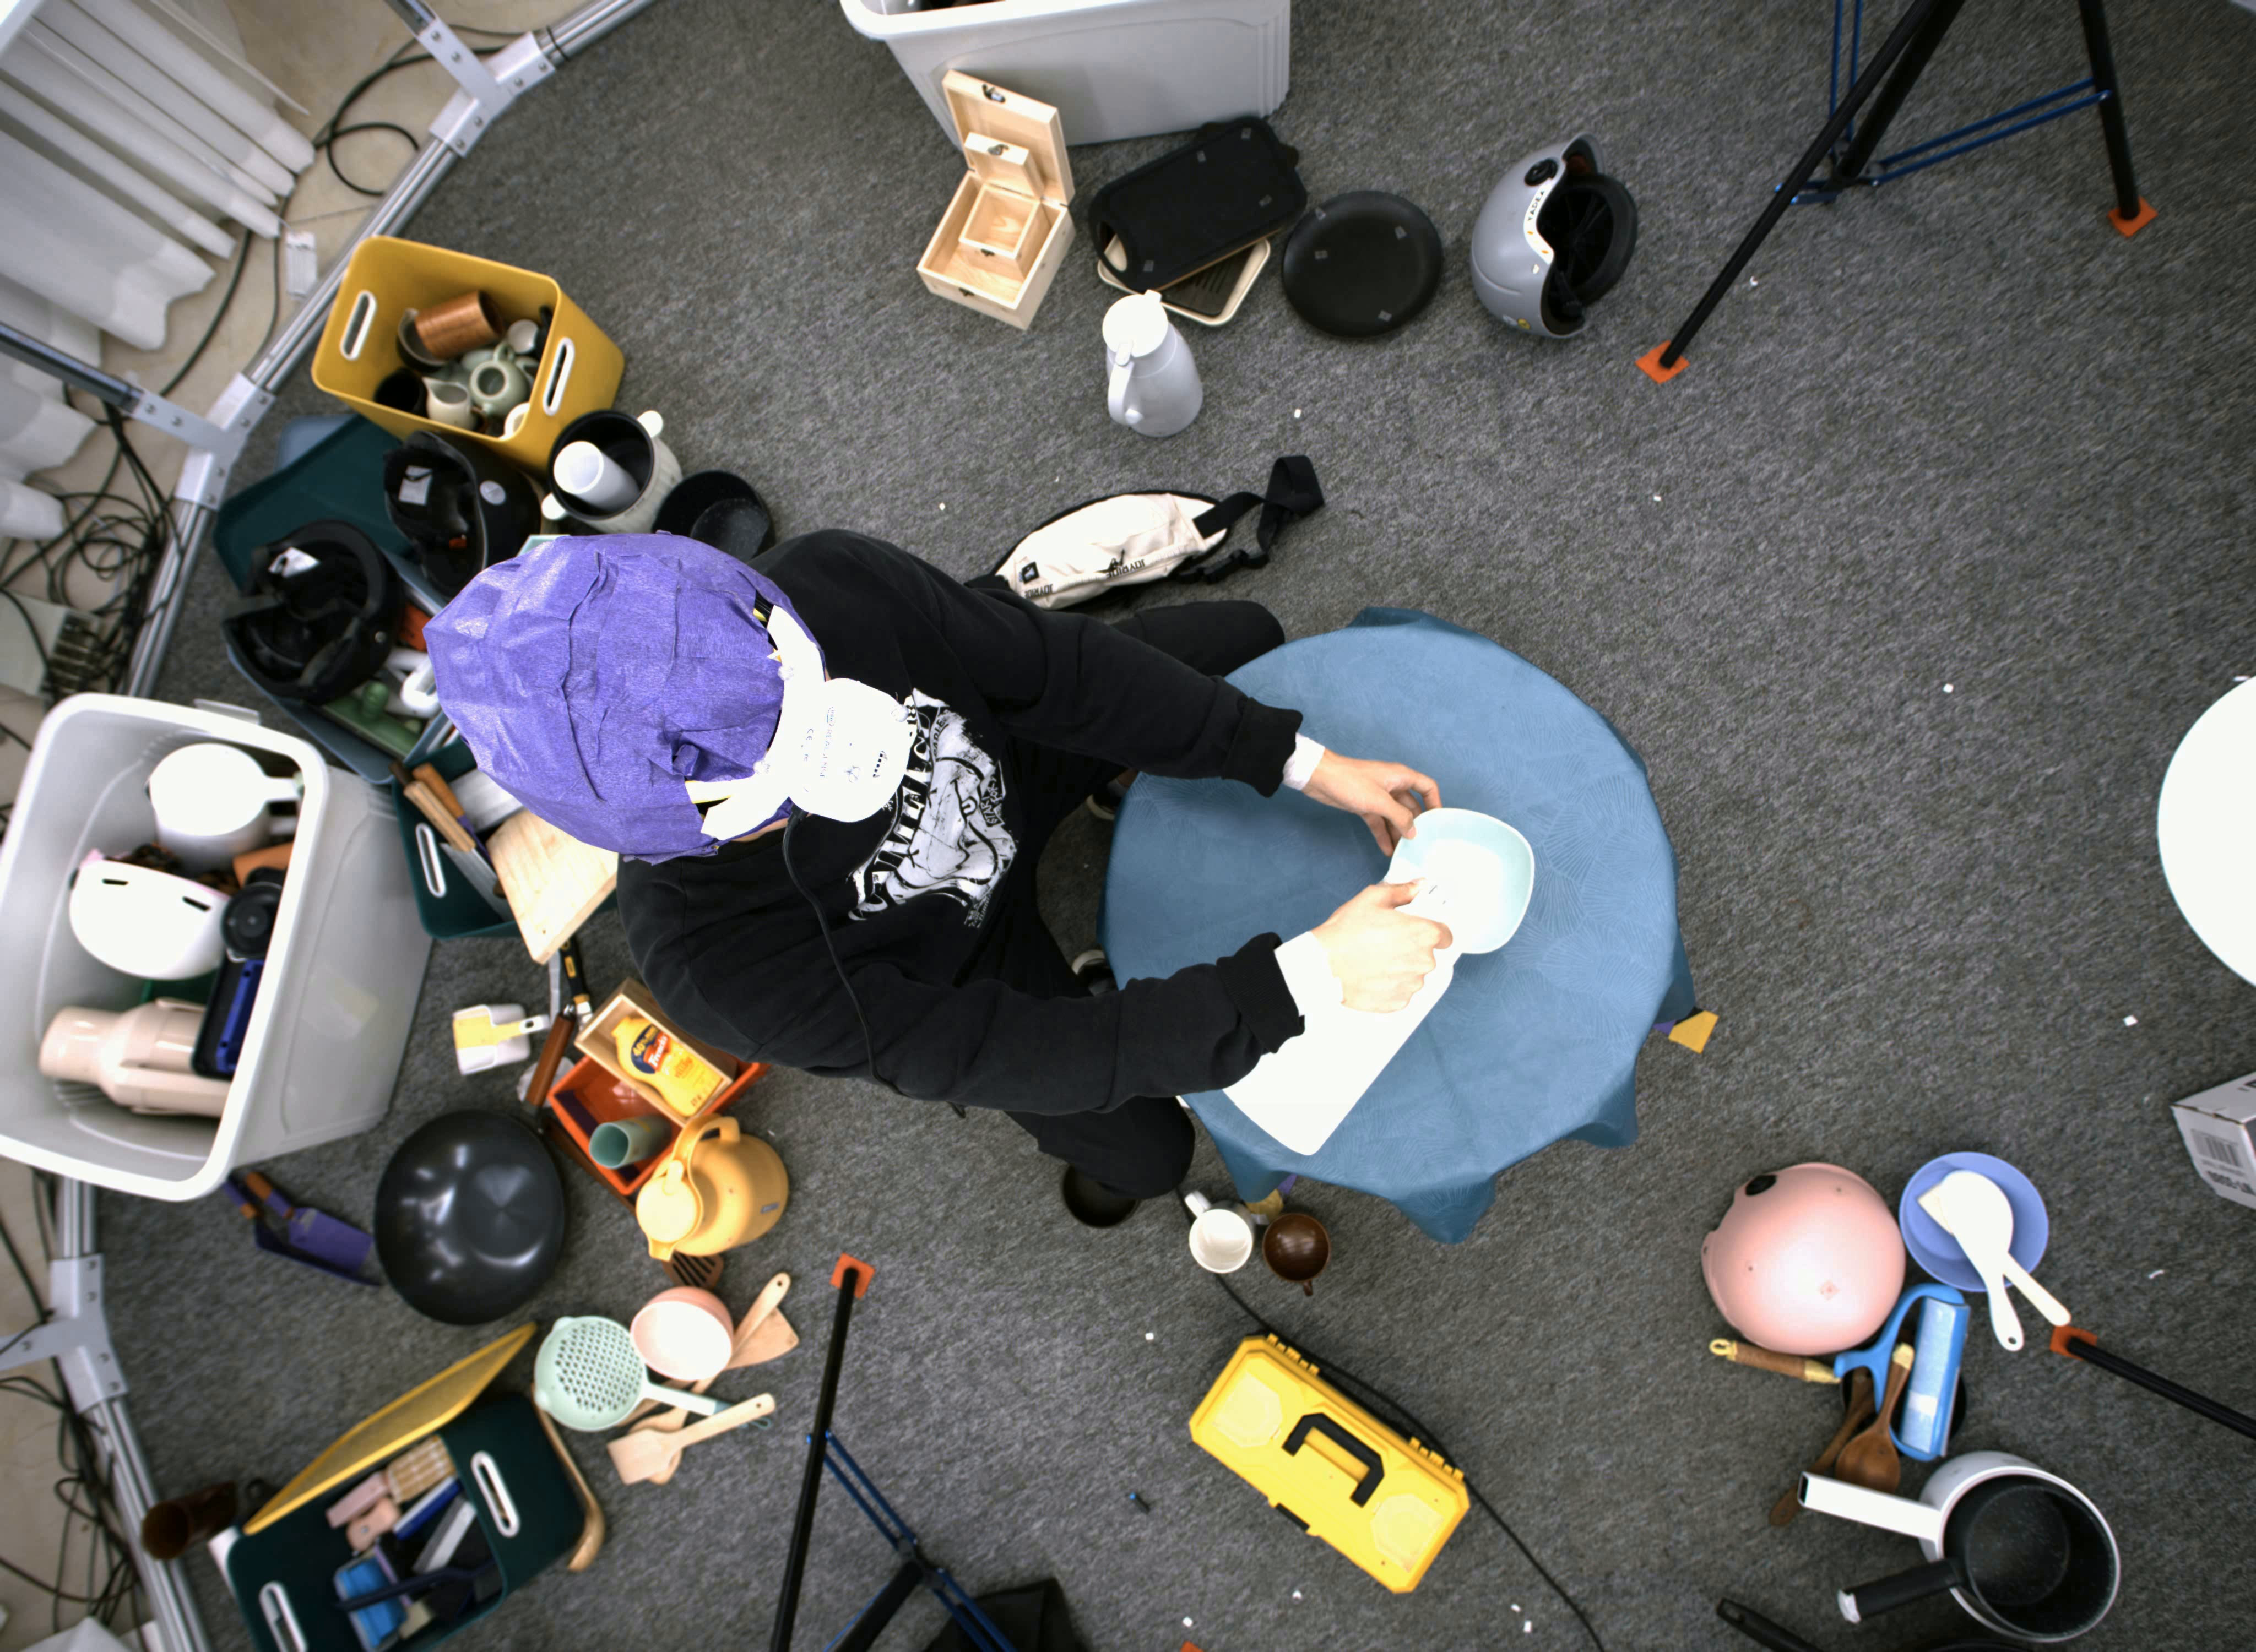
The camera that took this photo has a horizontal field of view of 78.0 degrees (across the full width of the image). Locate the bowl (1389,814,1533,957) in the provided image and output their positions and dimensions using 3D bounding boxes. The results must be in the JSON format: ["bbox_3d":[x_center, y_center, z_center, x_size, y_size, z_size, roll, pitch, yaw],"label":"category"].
[{"bbox_3d":[0.334,0.058,1.386,0.152,0.058,0.151,0,89,16],"label":"bowl"}]

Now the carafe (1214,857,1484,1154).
[{"bbox_3d":[0.201,0.162,1.248,0.123,0.173,0.270,41,94,9],"label":"carafe"}]
